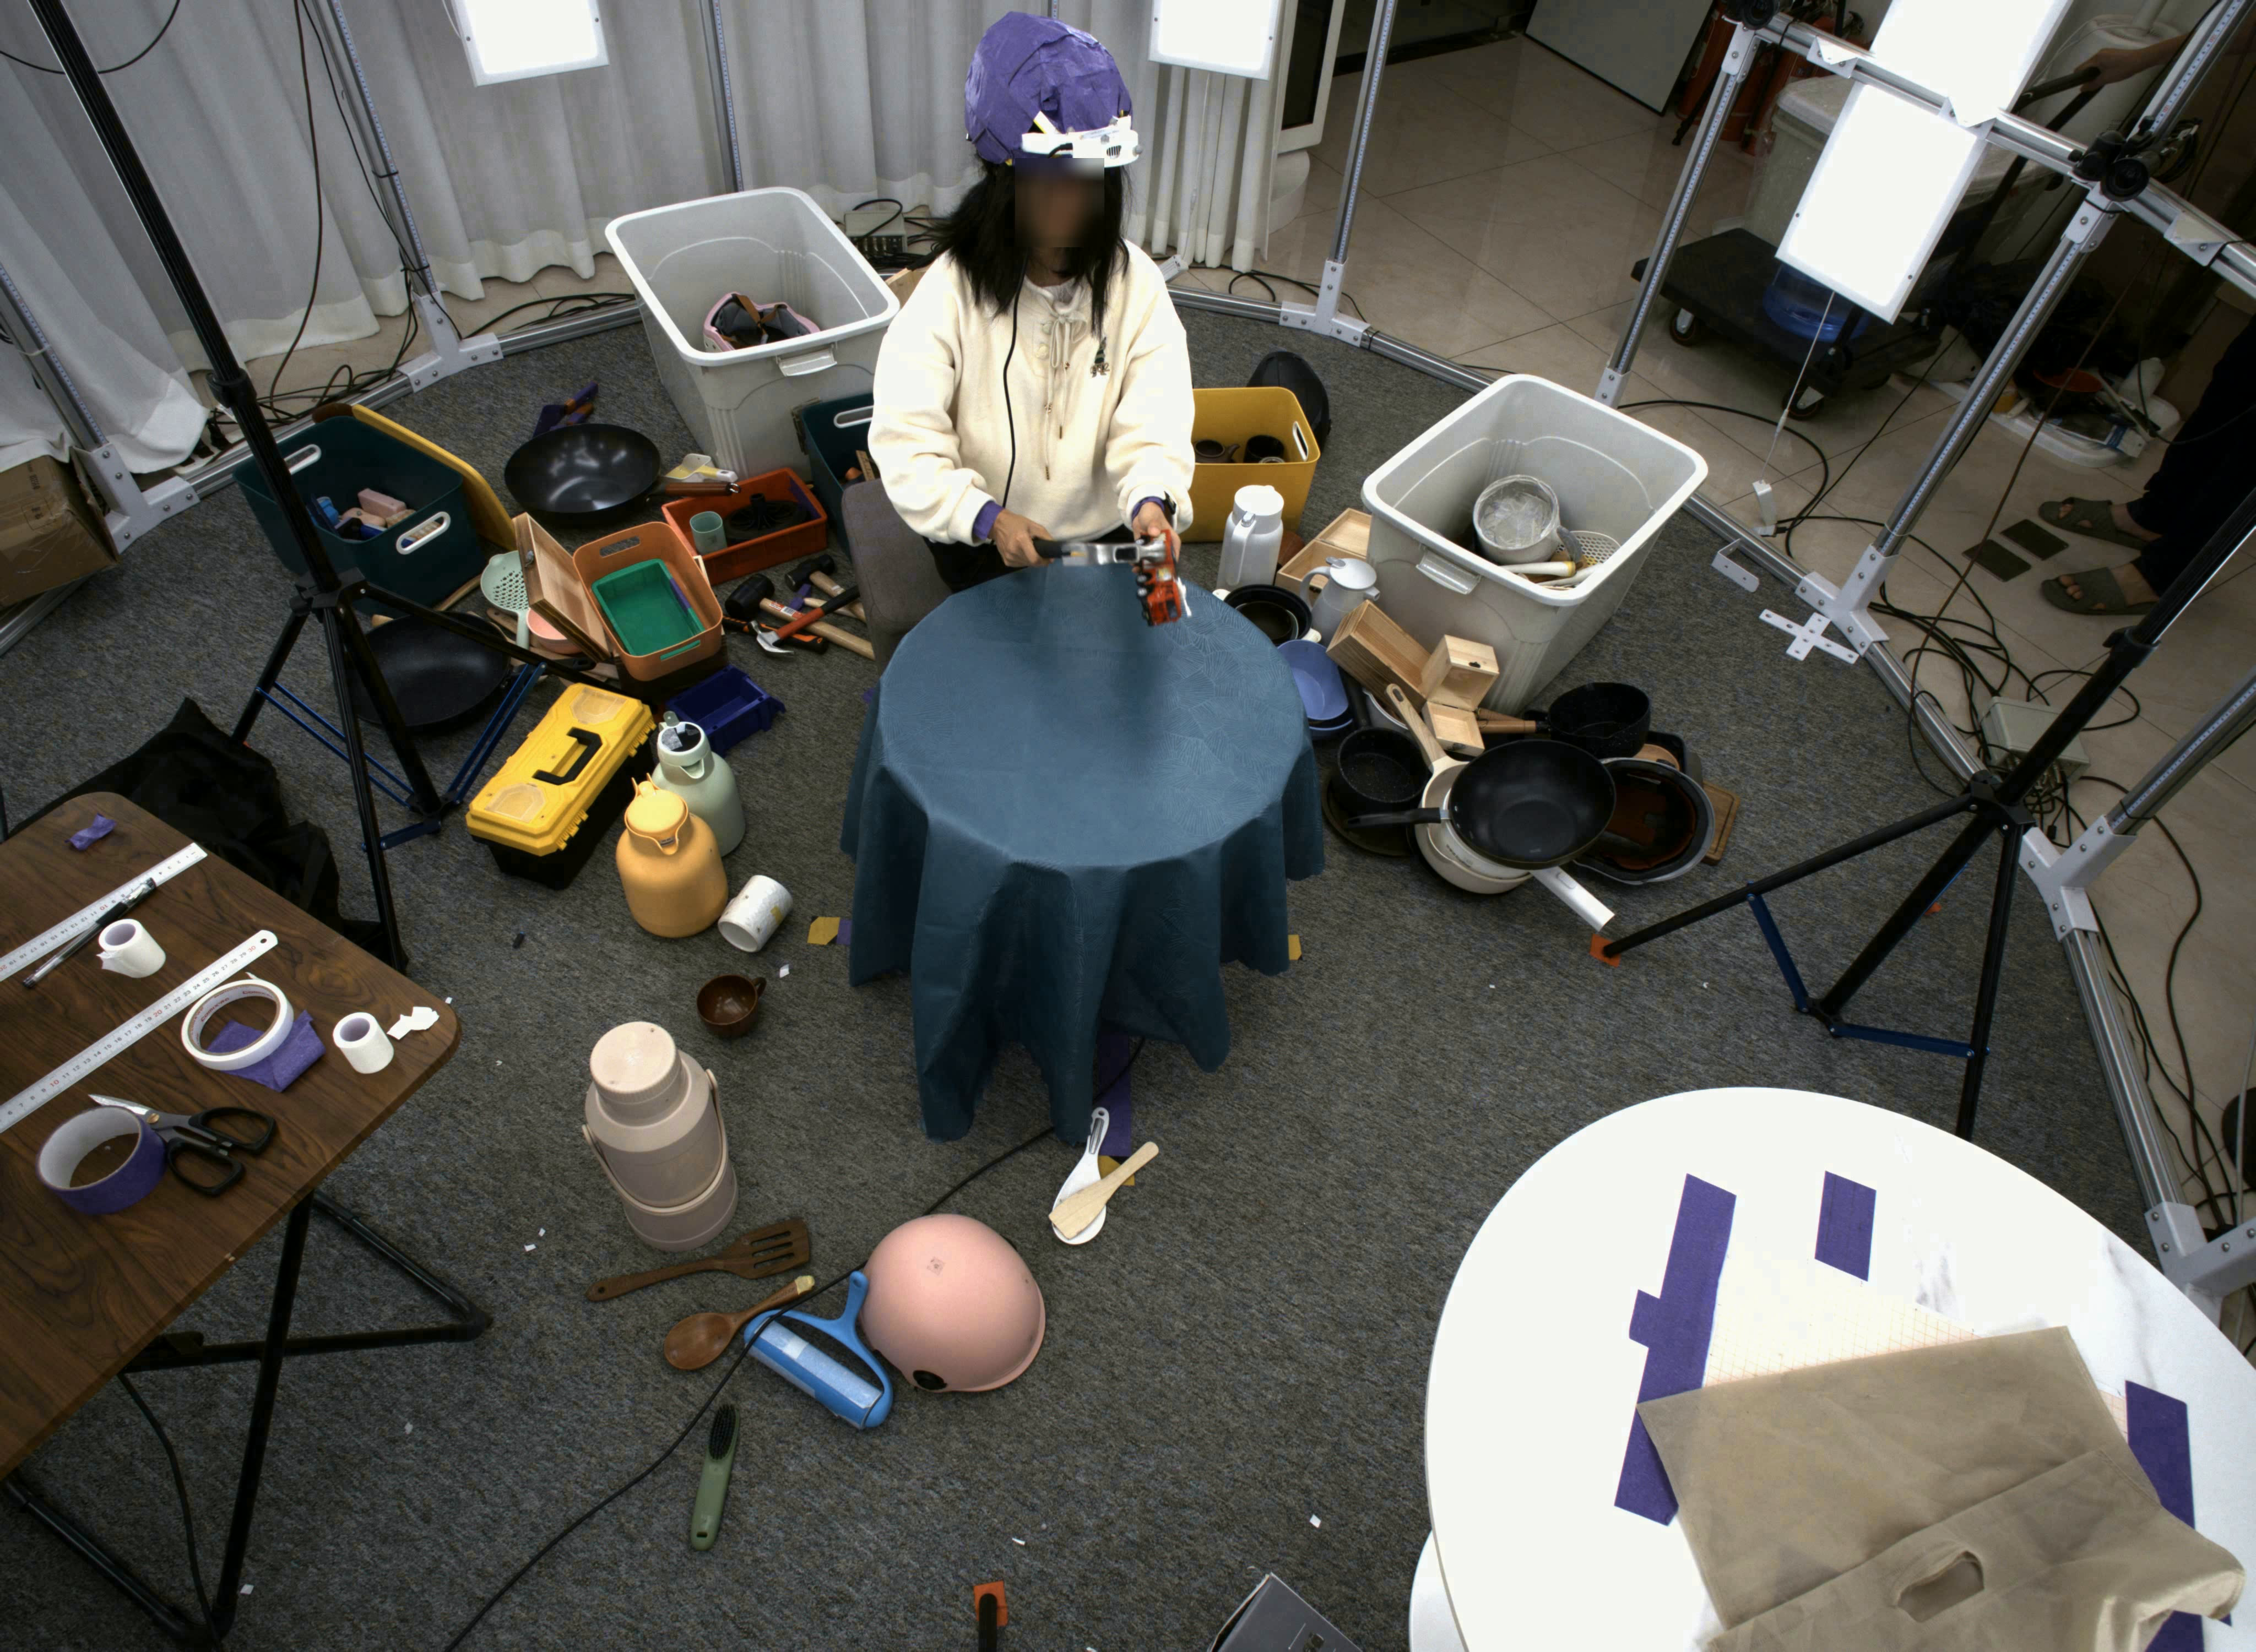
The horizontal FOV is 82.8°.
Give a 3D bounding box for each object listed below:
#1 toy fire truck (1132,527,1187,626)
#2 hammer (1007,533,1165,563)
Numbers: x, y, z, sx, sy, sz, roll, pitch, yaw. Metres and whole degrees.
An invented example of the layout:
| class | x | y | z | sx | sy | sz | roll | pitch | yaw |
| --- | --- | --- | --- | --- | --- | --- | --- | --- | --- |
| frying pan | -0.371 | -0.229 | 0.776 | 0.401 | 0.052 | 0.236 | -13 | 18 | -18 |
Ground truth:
| class | x | y | z | sx | sy | sz | roll | pitch | yaw |
| --- | --- | --- | --- | --- | --- | --- | --- | --- | --- |
| toy fire truck | 0.042 | -0.341 | 1.757 | 0.070 | 0.052 | 0.172 | -11 | 44 | 8 |
| hammer | -0.088 | -0.399 | 1.835 | 0.131 | 0.032 | 0.342 | -8 | 17 | -28 |
